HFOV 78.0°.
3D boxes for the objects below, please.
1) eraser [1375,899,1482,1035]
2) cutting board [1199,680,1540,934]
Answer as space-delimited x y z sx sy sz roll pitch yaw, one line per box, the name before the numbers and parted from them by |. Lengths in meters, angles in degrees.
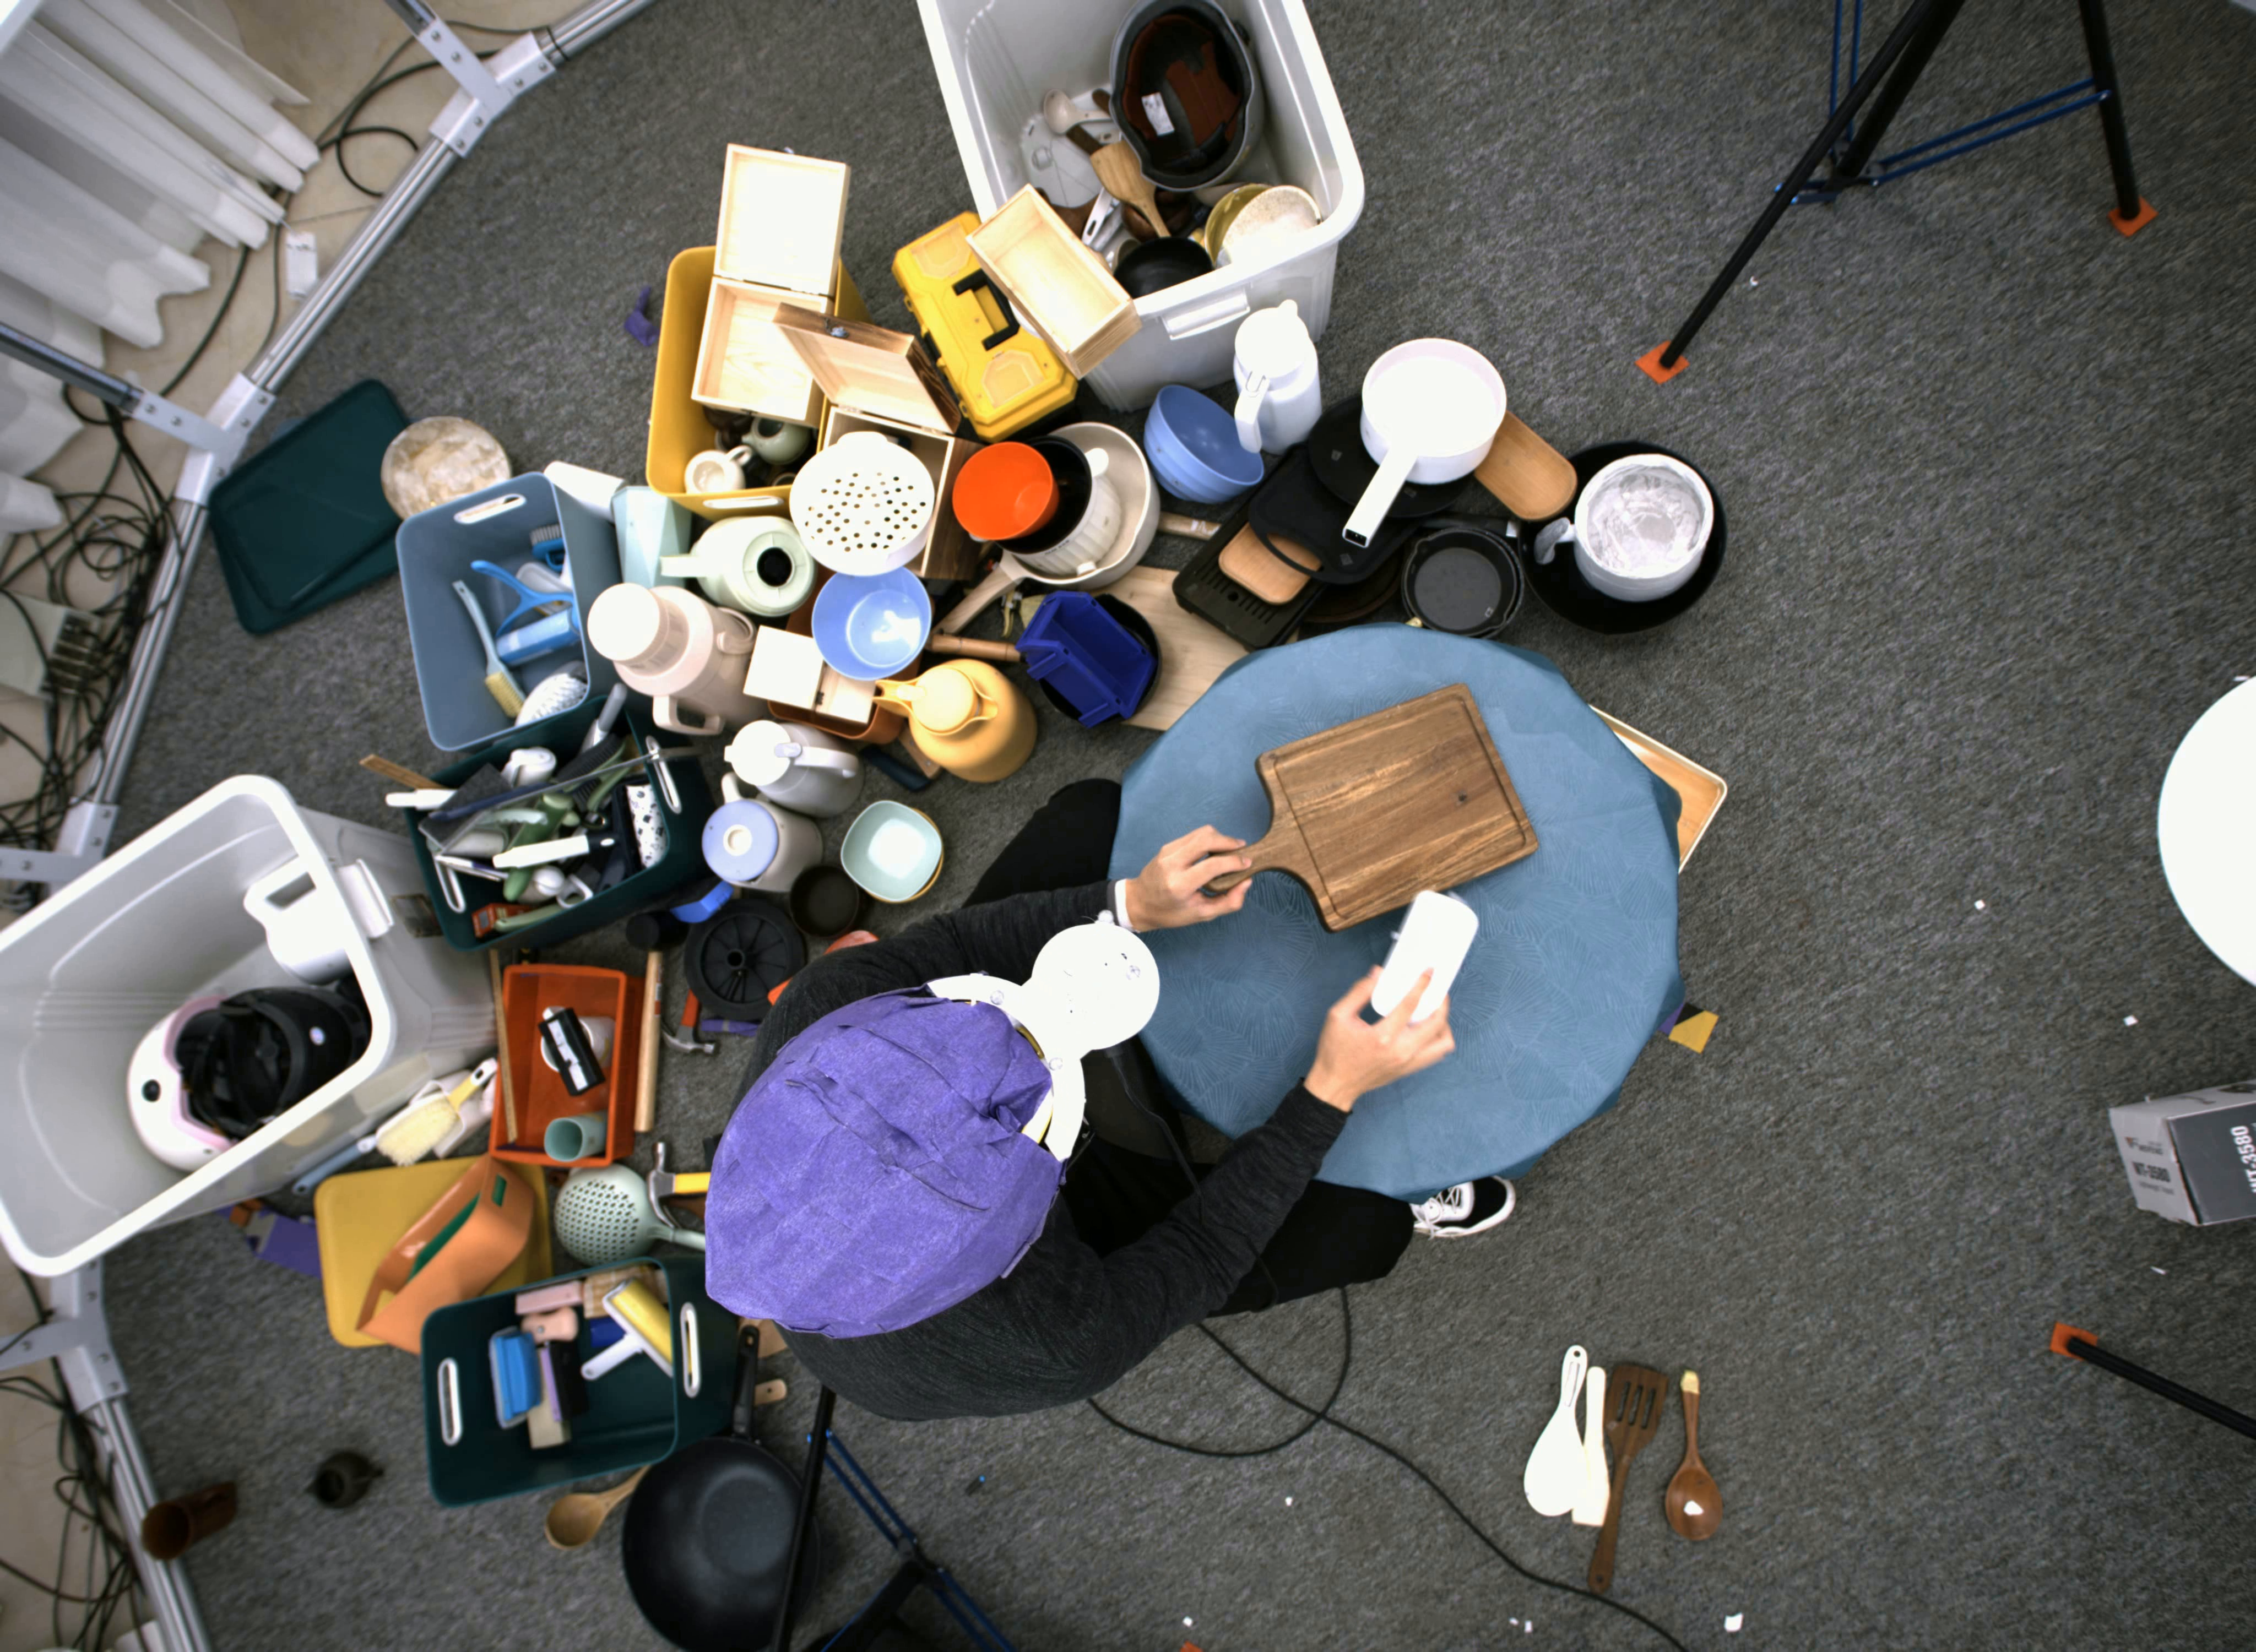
eraser | 0.293 0.135 1.353 0.063 0.034 0.131 28 92 -6
cutting board | 0.232 -0.008 1.401 0.350 0.023 0.200 -21 83 -12
